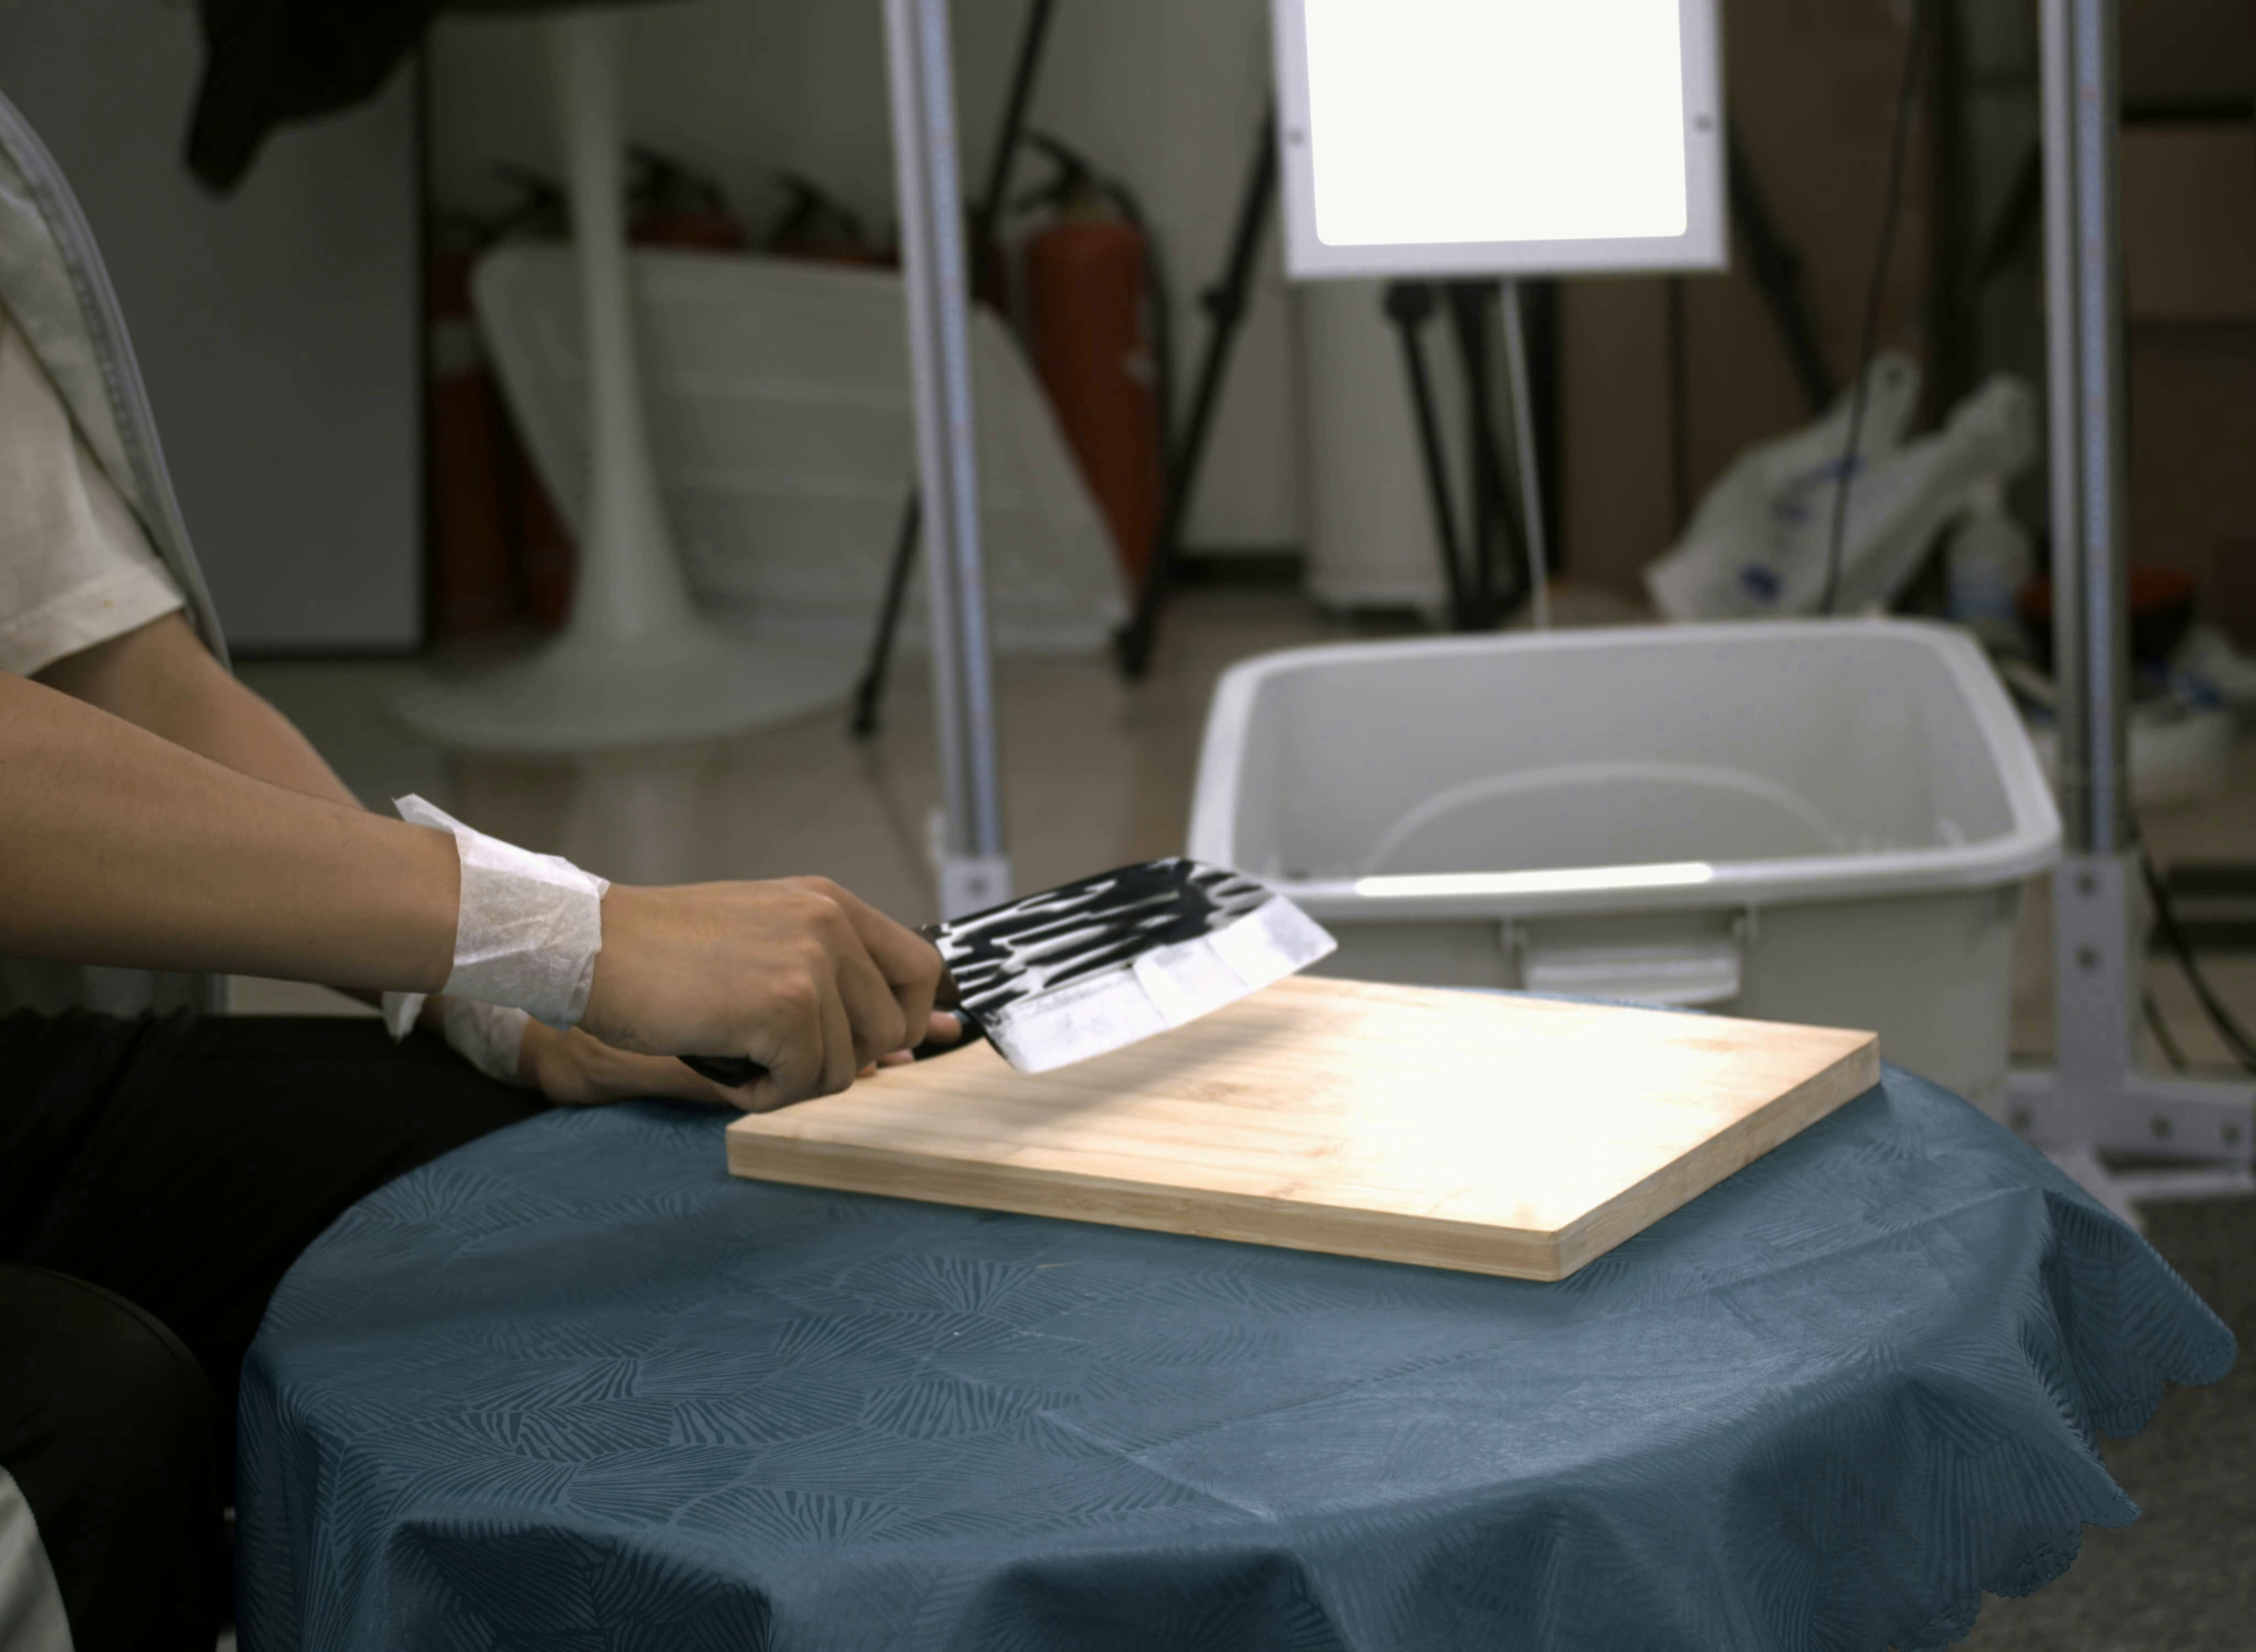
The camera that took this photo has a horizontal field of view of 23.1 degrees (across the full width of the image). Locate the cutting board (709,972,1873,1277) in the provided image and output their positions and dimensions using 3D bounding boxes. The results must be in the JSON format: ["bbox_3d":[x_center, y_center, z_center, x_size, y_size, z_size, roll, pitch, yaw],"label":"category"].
[{"bbox_3d":[0.058,0.099,1.955,0.356,0.023,0.245,4,16,34],"label":"cutting board"}]

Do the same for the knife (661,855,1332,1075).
[{"bbox_3d":[-0.039,0.055,1.933,0.292,0.024,0.068,-16,62,-43],"label":"knife"}]
